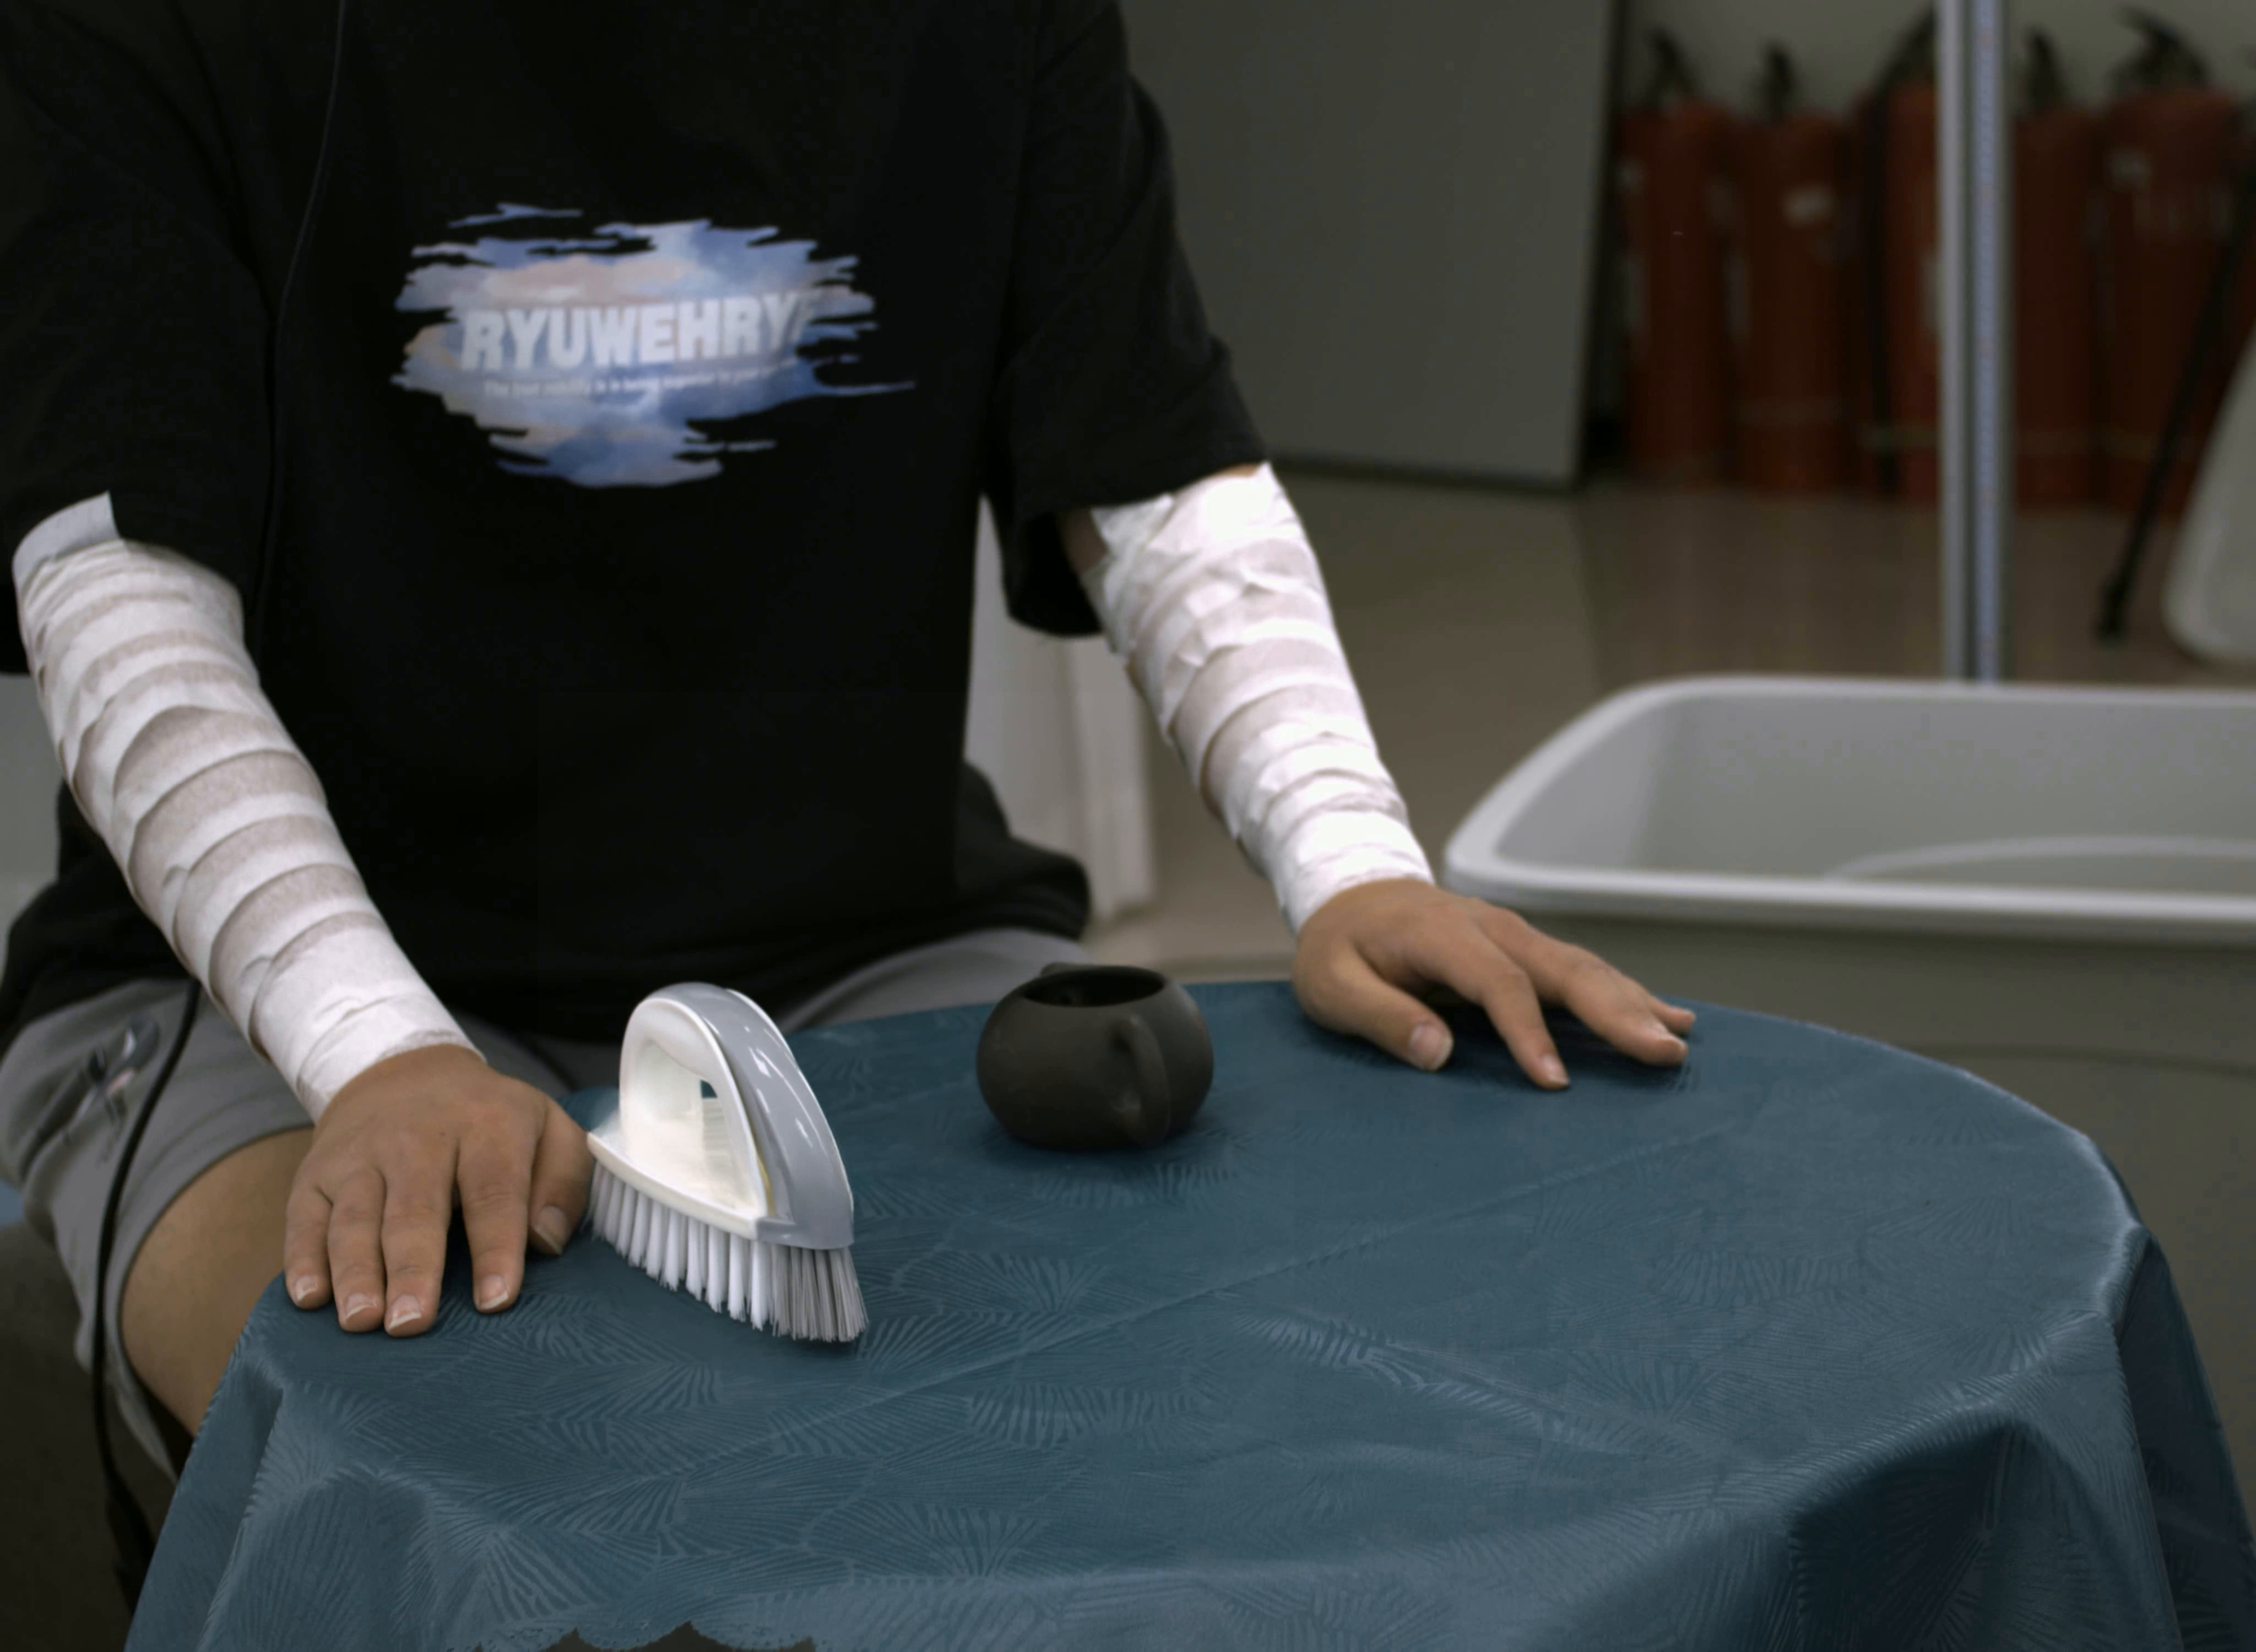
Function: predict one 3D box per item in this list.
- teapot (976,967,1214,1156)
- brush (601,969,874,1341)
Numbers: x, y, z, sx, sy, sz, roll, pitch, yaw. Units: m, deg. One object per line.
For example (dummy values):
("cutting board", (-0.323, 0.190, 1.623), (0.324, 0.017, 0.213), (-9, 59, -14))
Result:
("teapot", (-0.007, 0.082, 1.829), (0.081, 0.053, 0.115), (-7, 12, -16))
("brush", (-0.119, 0.099, 1.704), (0.060, 0.095, 0.177), (-12, 17, -21))
